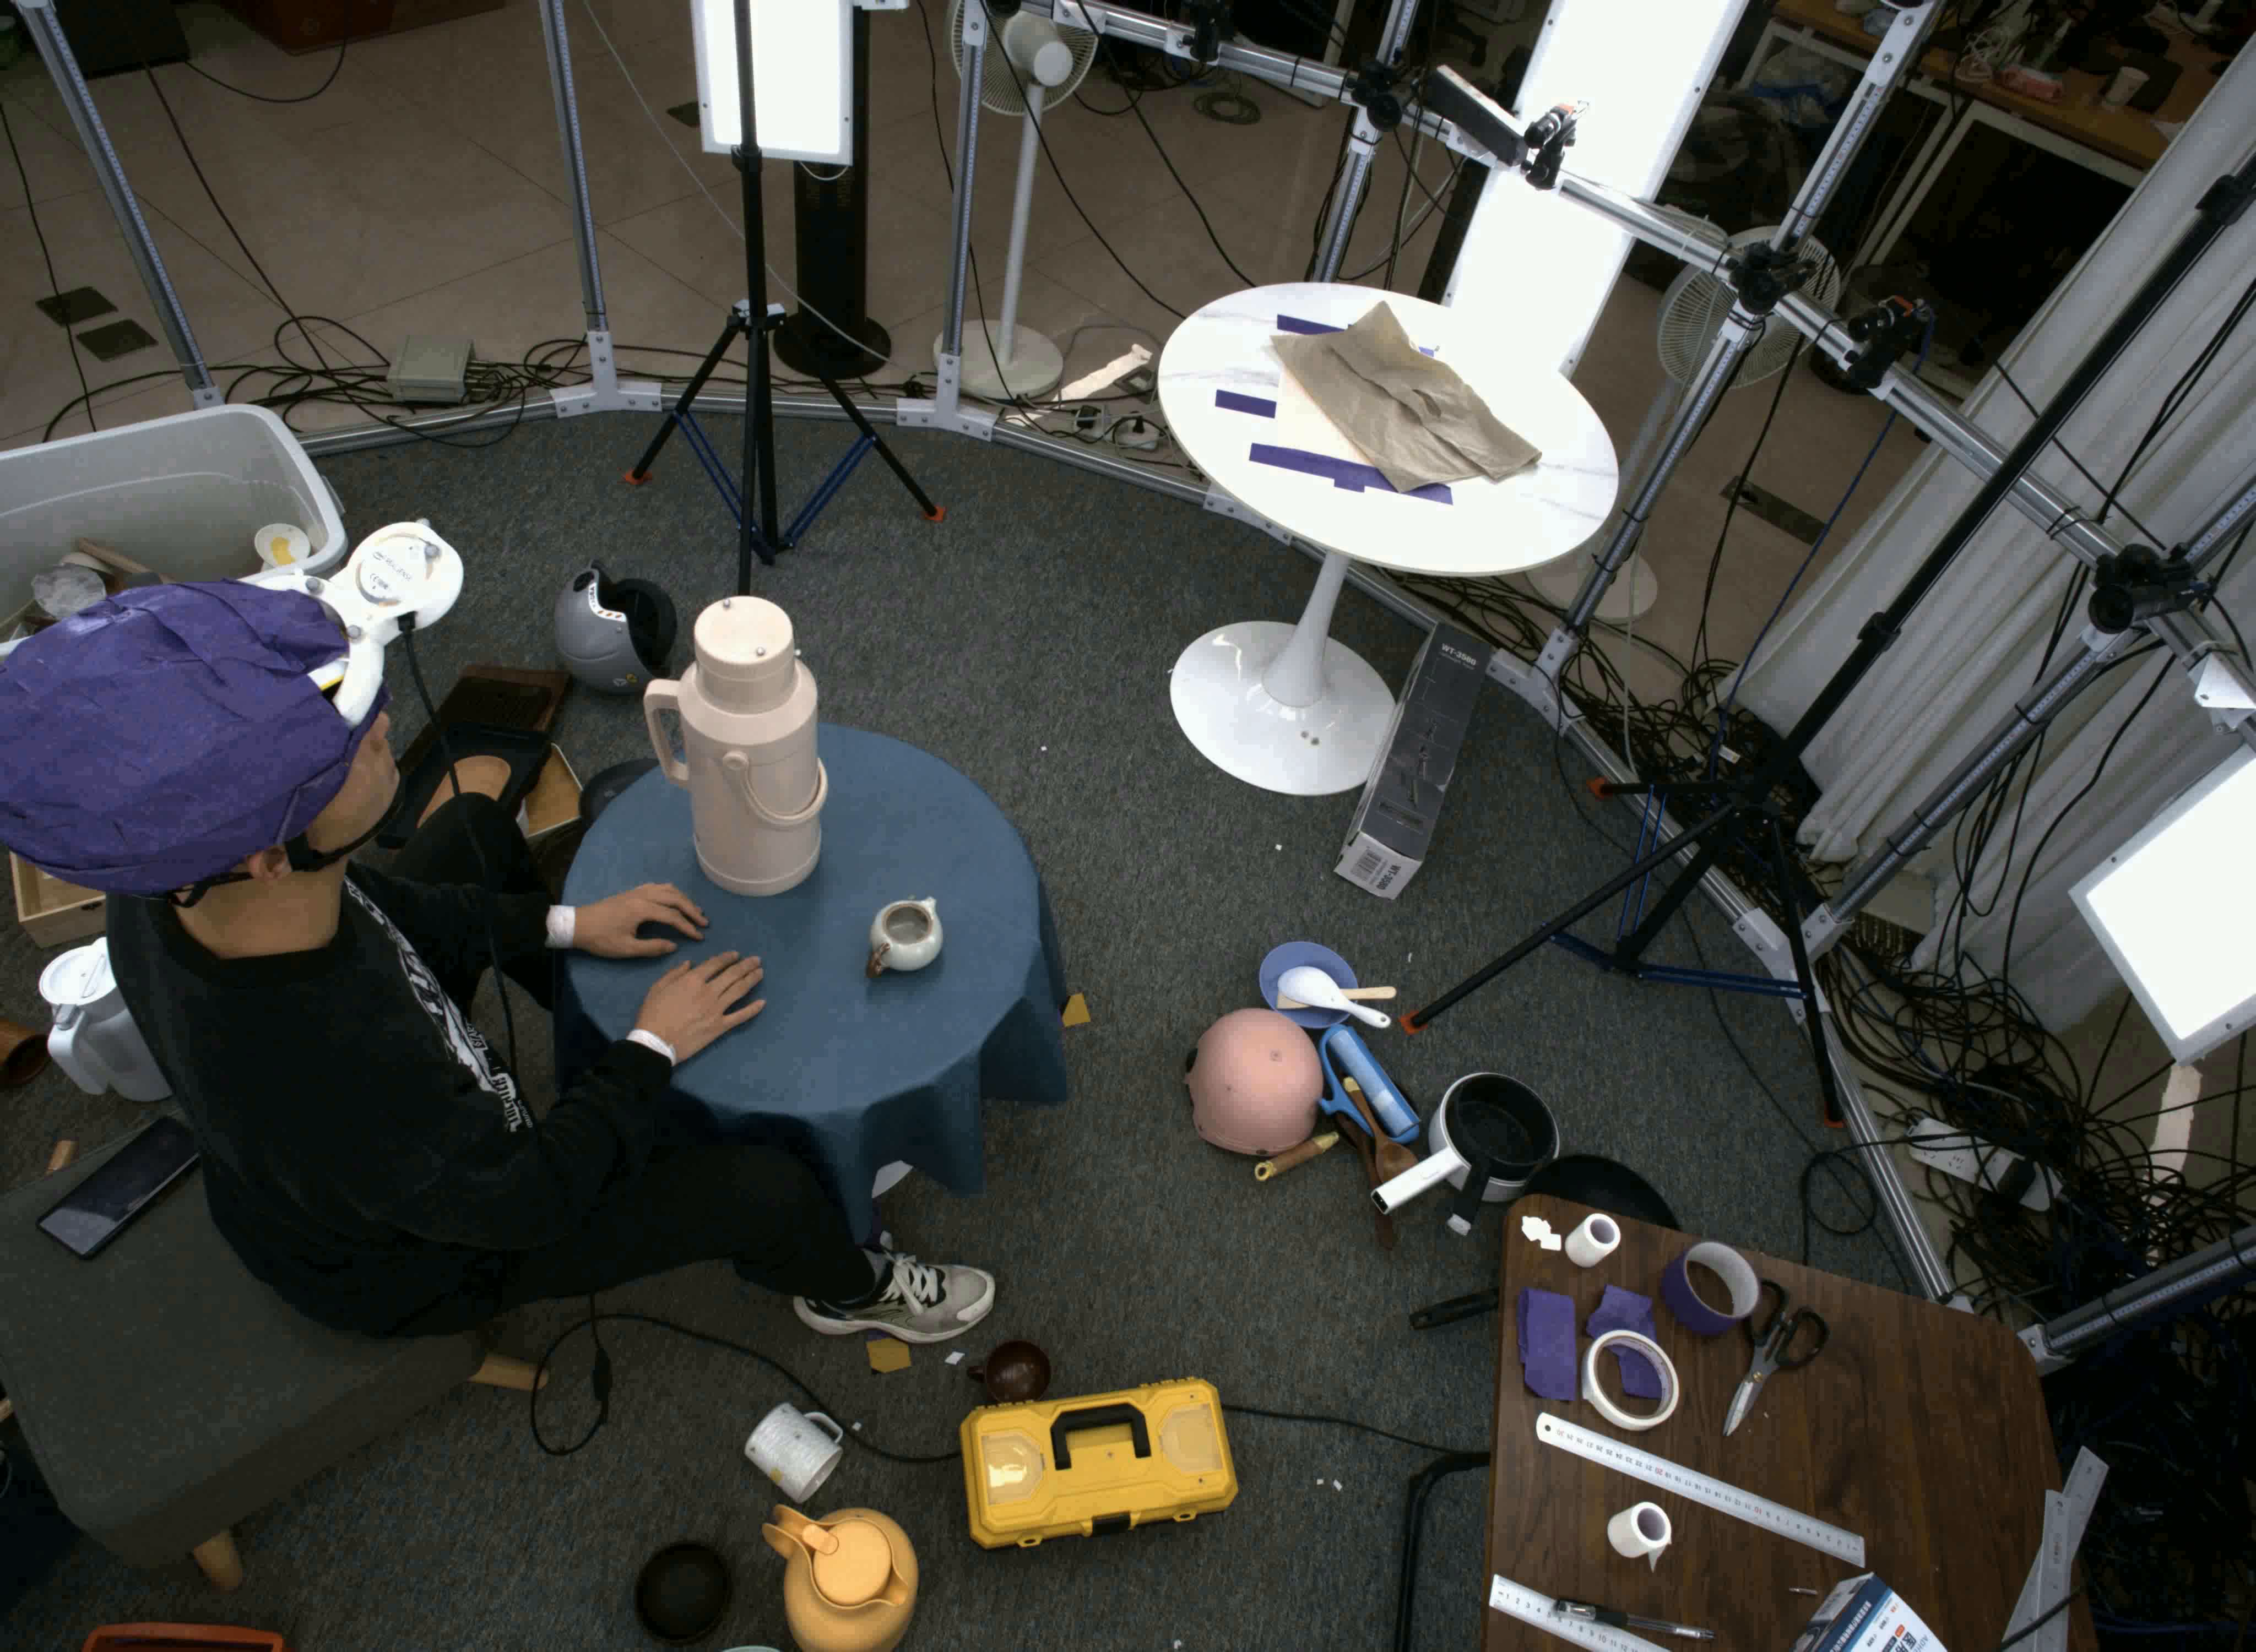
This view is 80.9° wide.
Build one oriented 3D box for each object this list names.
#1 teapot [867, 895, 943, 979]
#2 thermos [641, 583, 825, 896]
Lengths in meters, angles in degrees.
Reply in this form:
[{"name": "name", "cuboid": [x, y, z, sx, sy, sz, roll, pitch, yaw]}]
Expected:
[{"name": "teapot", "cuboid": [-0.282, 0.139, 1.616, 0.091, 0.060, 0.128, 34, 52, 7]}, {"name": "thermos", "cuboid": [-0.465, -0.100, 1.529, 0.207, 0.414, 0.172, 4, 53, -9]}]
